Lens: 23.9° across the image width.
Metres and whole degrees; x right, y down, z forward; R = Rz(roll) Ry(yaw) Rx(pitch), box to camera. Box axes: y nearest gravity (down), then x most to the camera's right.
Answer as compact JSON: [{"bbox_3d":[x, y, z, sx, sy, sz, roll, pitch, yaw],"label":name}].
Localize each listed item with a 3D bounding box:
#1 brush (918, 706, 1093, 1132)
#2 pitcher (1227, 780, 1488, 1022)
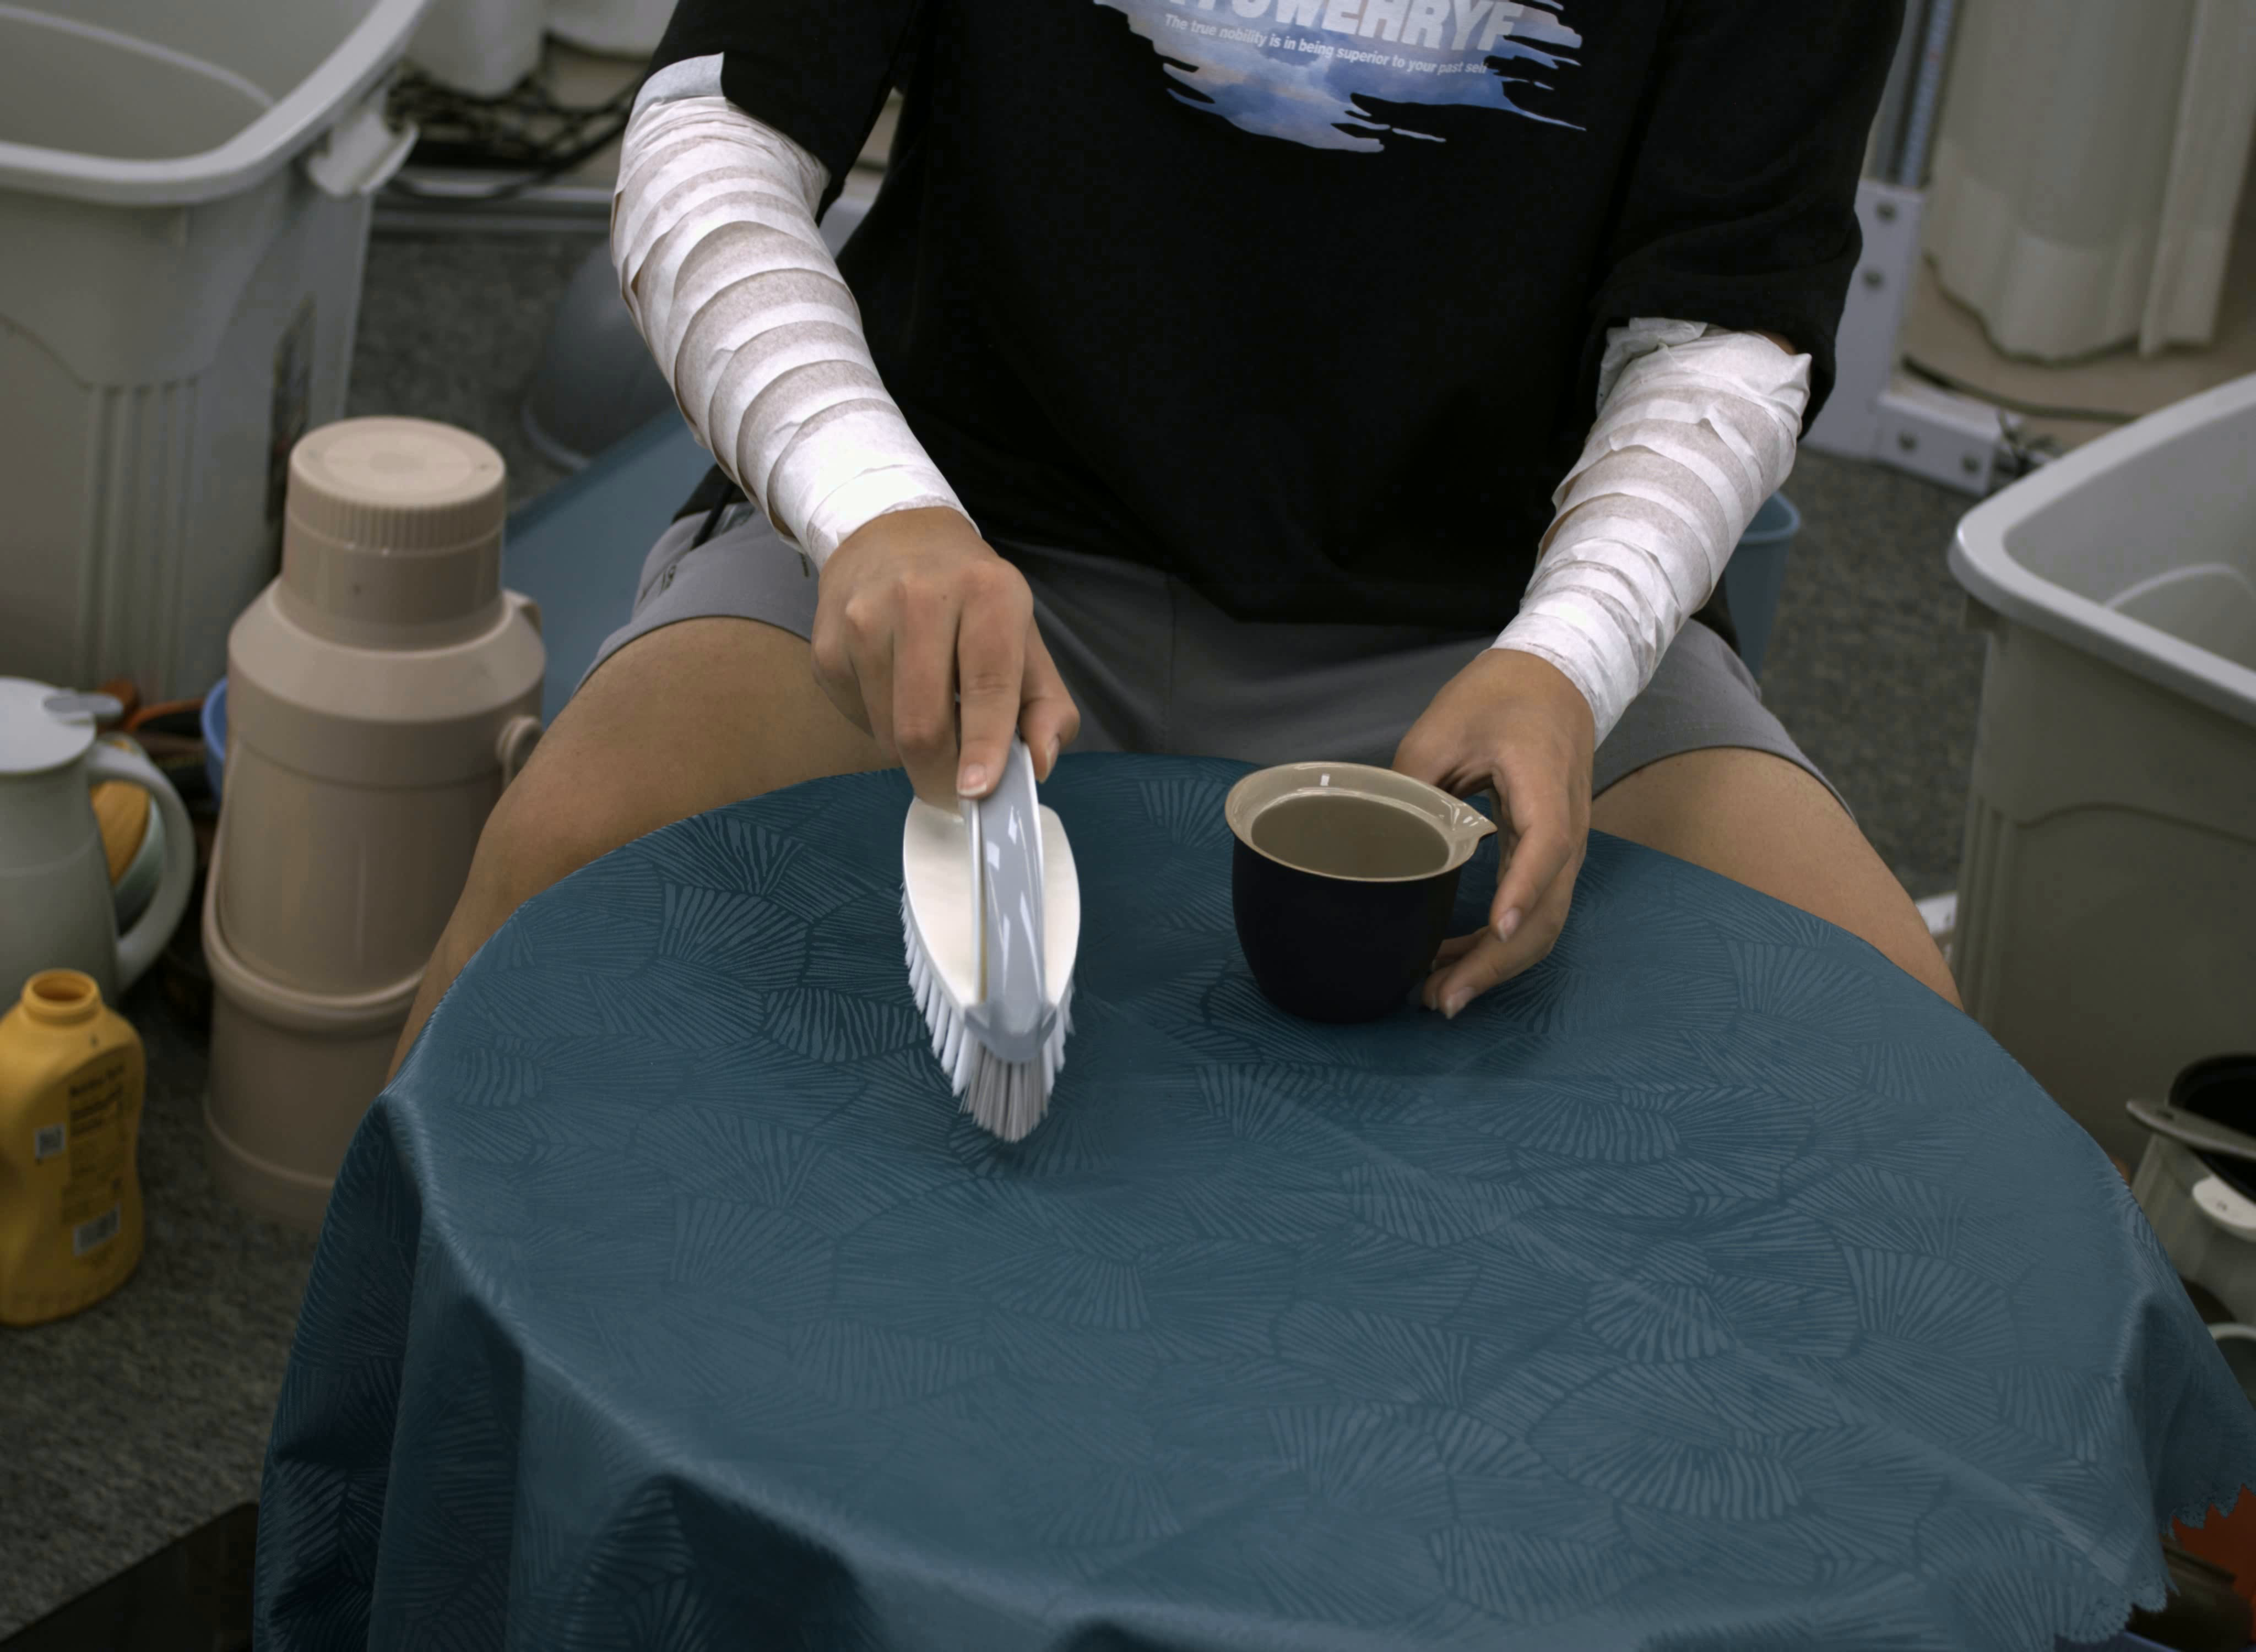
[{"bbox_3d":[-0.041,0.024,1.853,0.061,0.094,0.177,-3,32,-3],"label":"brush"},{"bbox_3d":[0.080,0.029,1.930,0.095,0.071,0.084,2,25,-17],"label":"pitcher"}]
